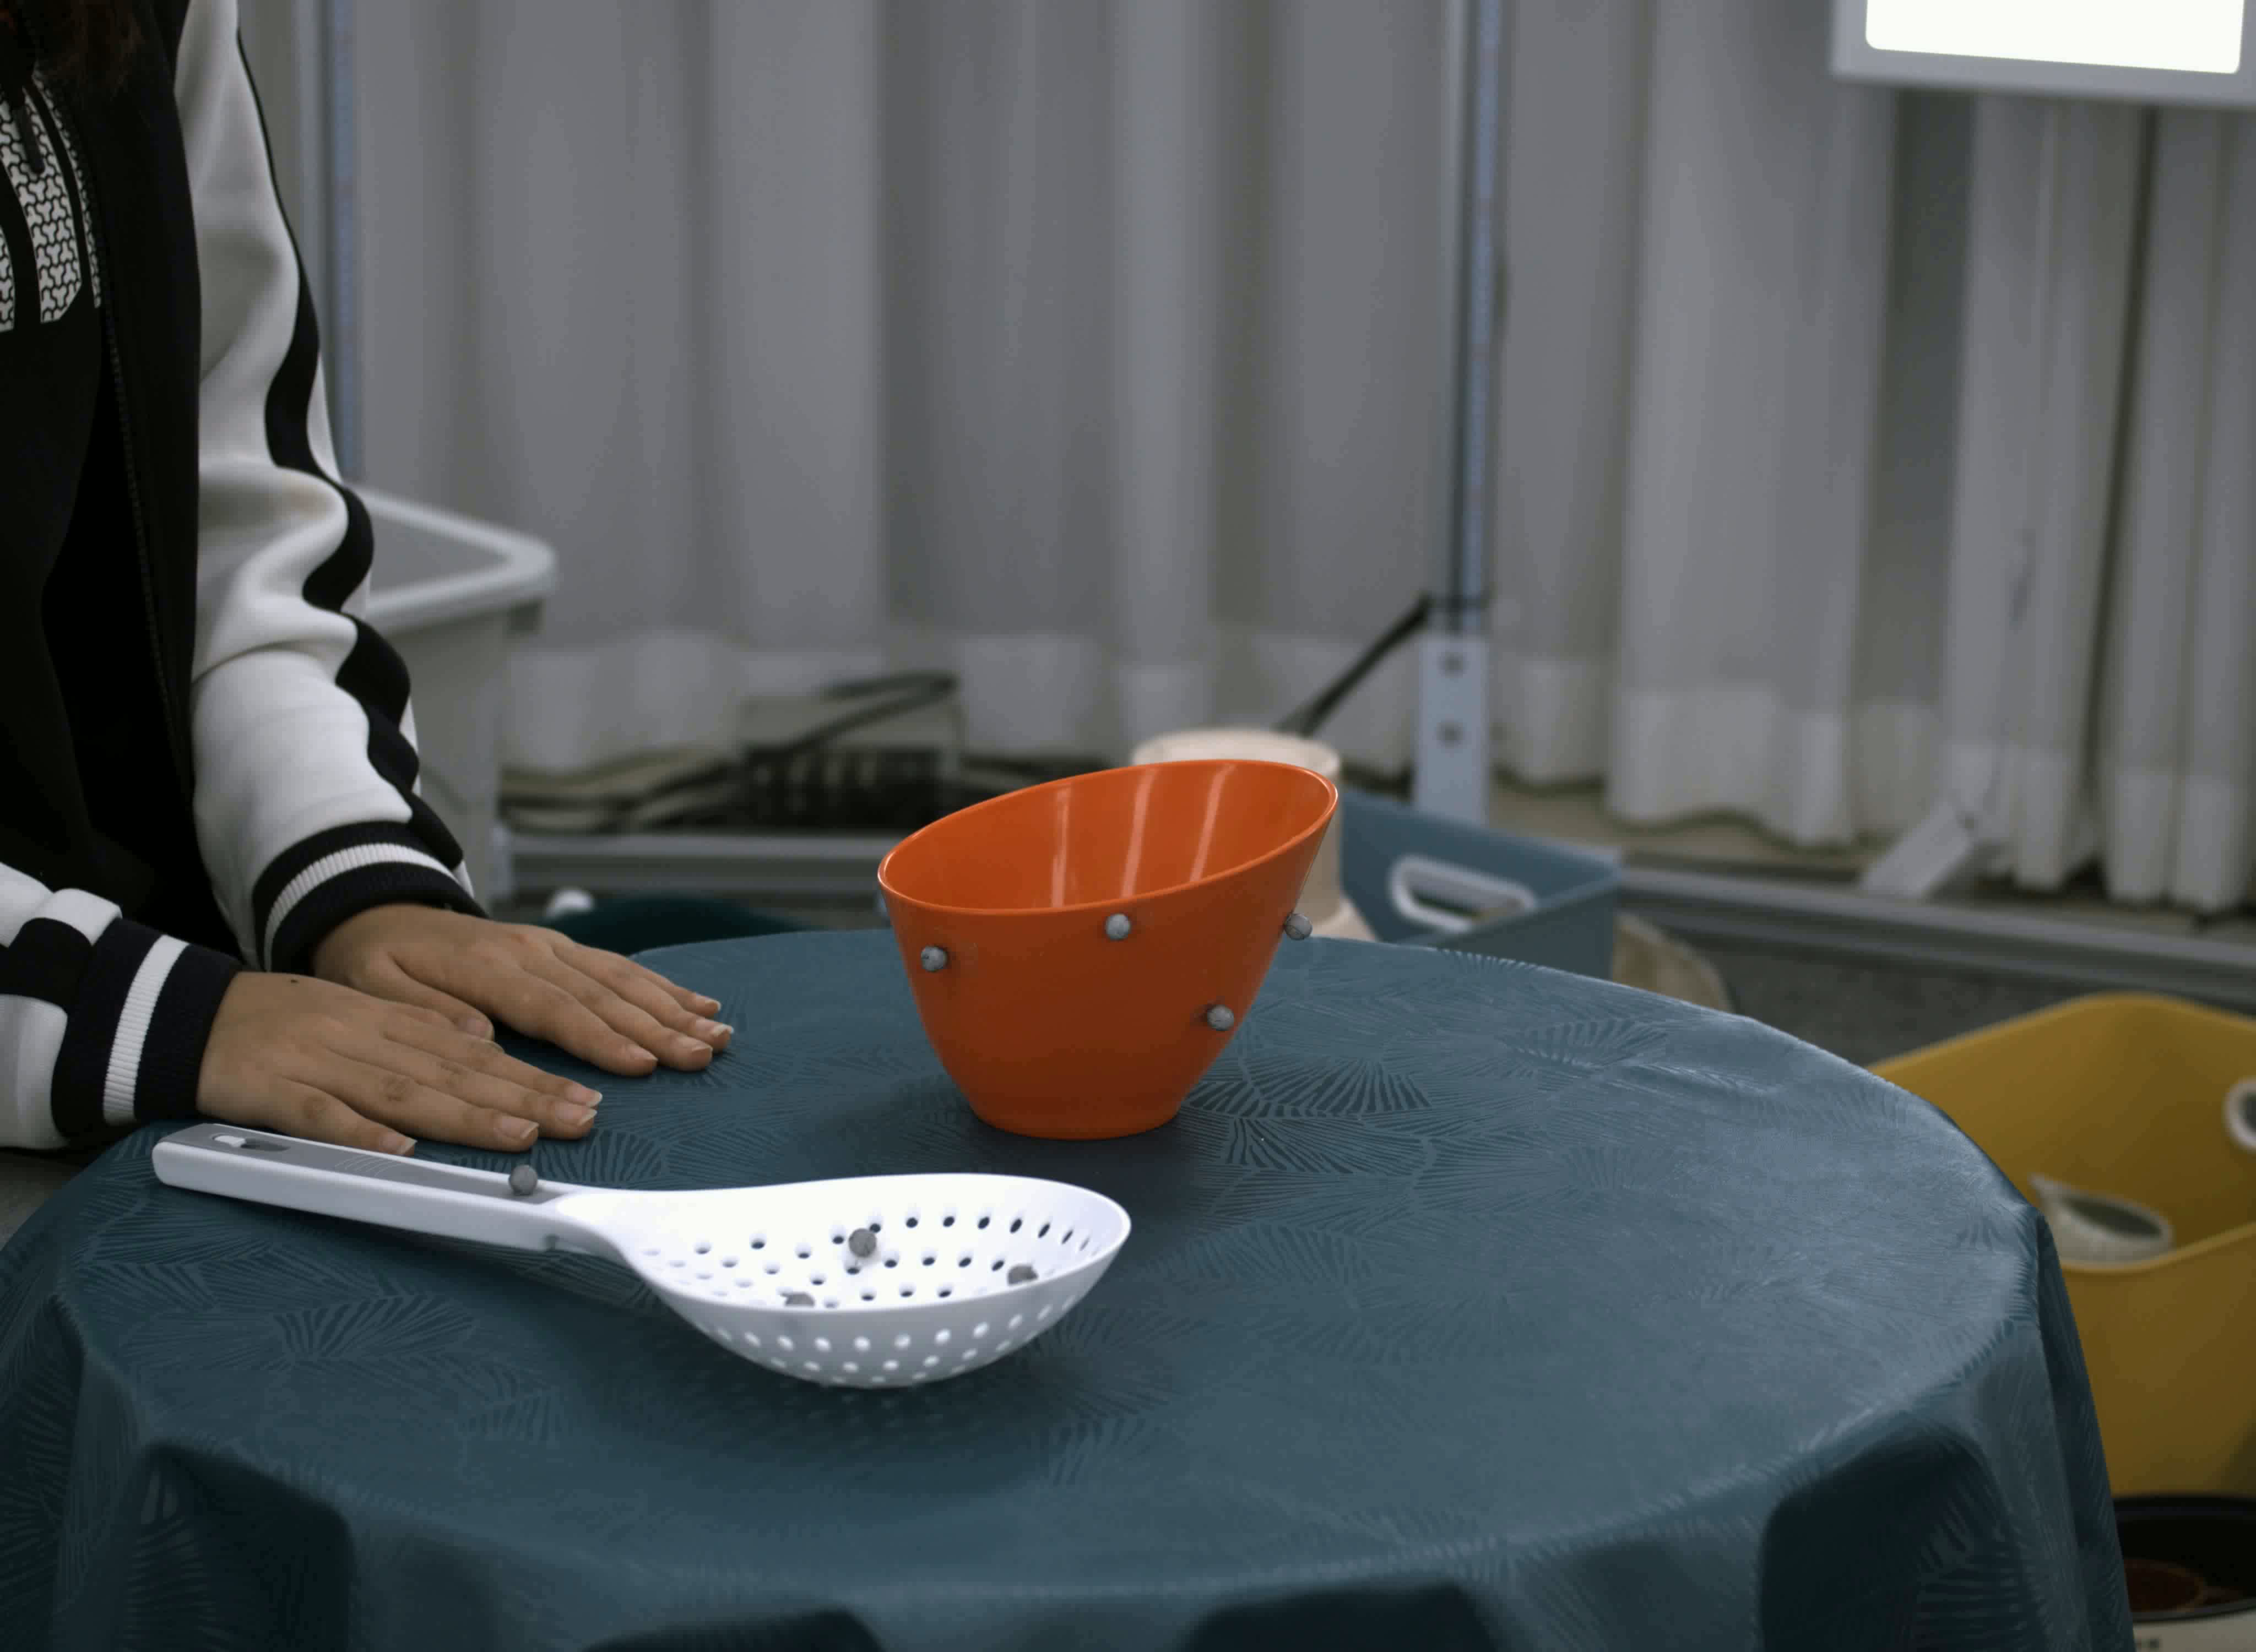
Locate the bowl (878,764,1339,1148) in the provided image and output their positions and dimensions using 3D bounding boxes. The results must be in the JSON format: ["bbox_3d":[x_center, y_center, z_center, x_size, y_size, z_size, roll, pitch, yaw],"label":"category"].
[{"bbox_3d":[-0.006,0.043,1.684,0.147,0.105,0.147,-1,17,1],"label":"bowl"}]

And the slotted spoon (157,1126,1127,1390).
[{"bbox_3d":[-0.154,0.115,1.524,0.345,0.046,0.136,11,17,35],"label":"slotted spoon"}]
